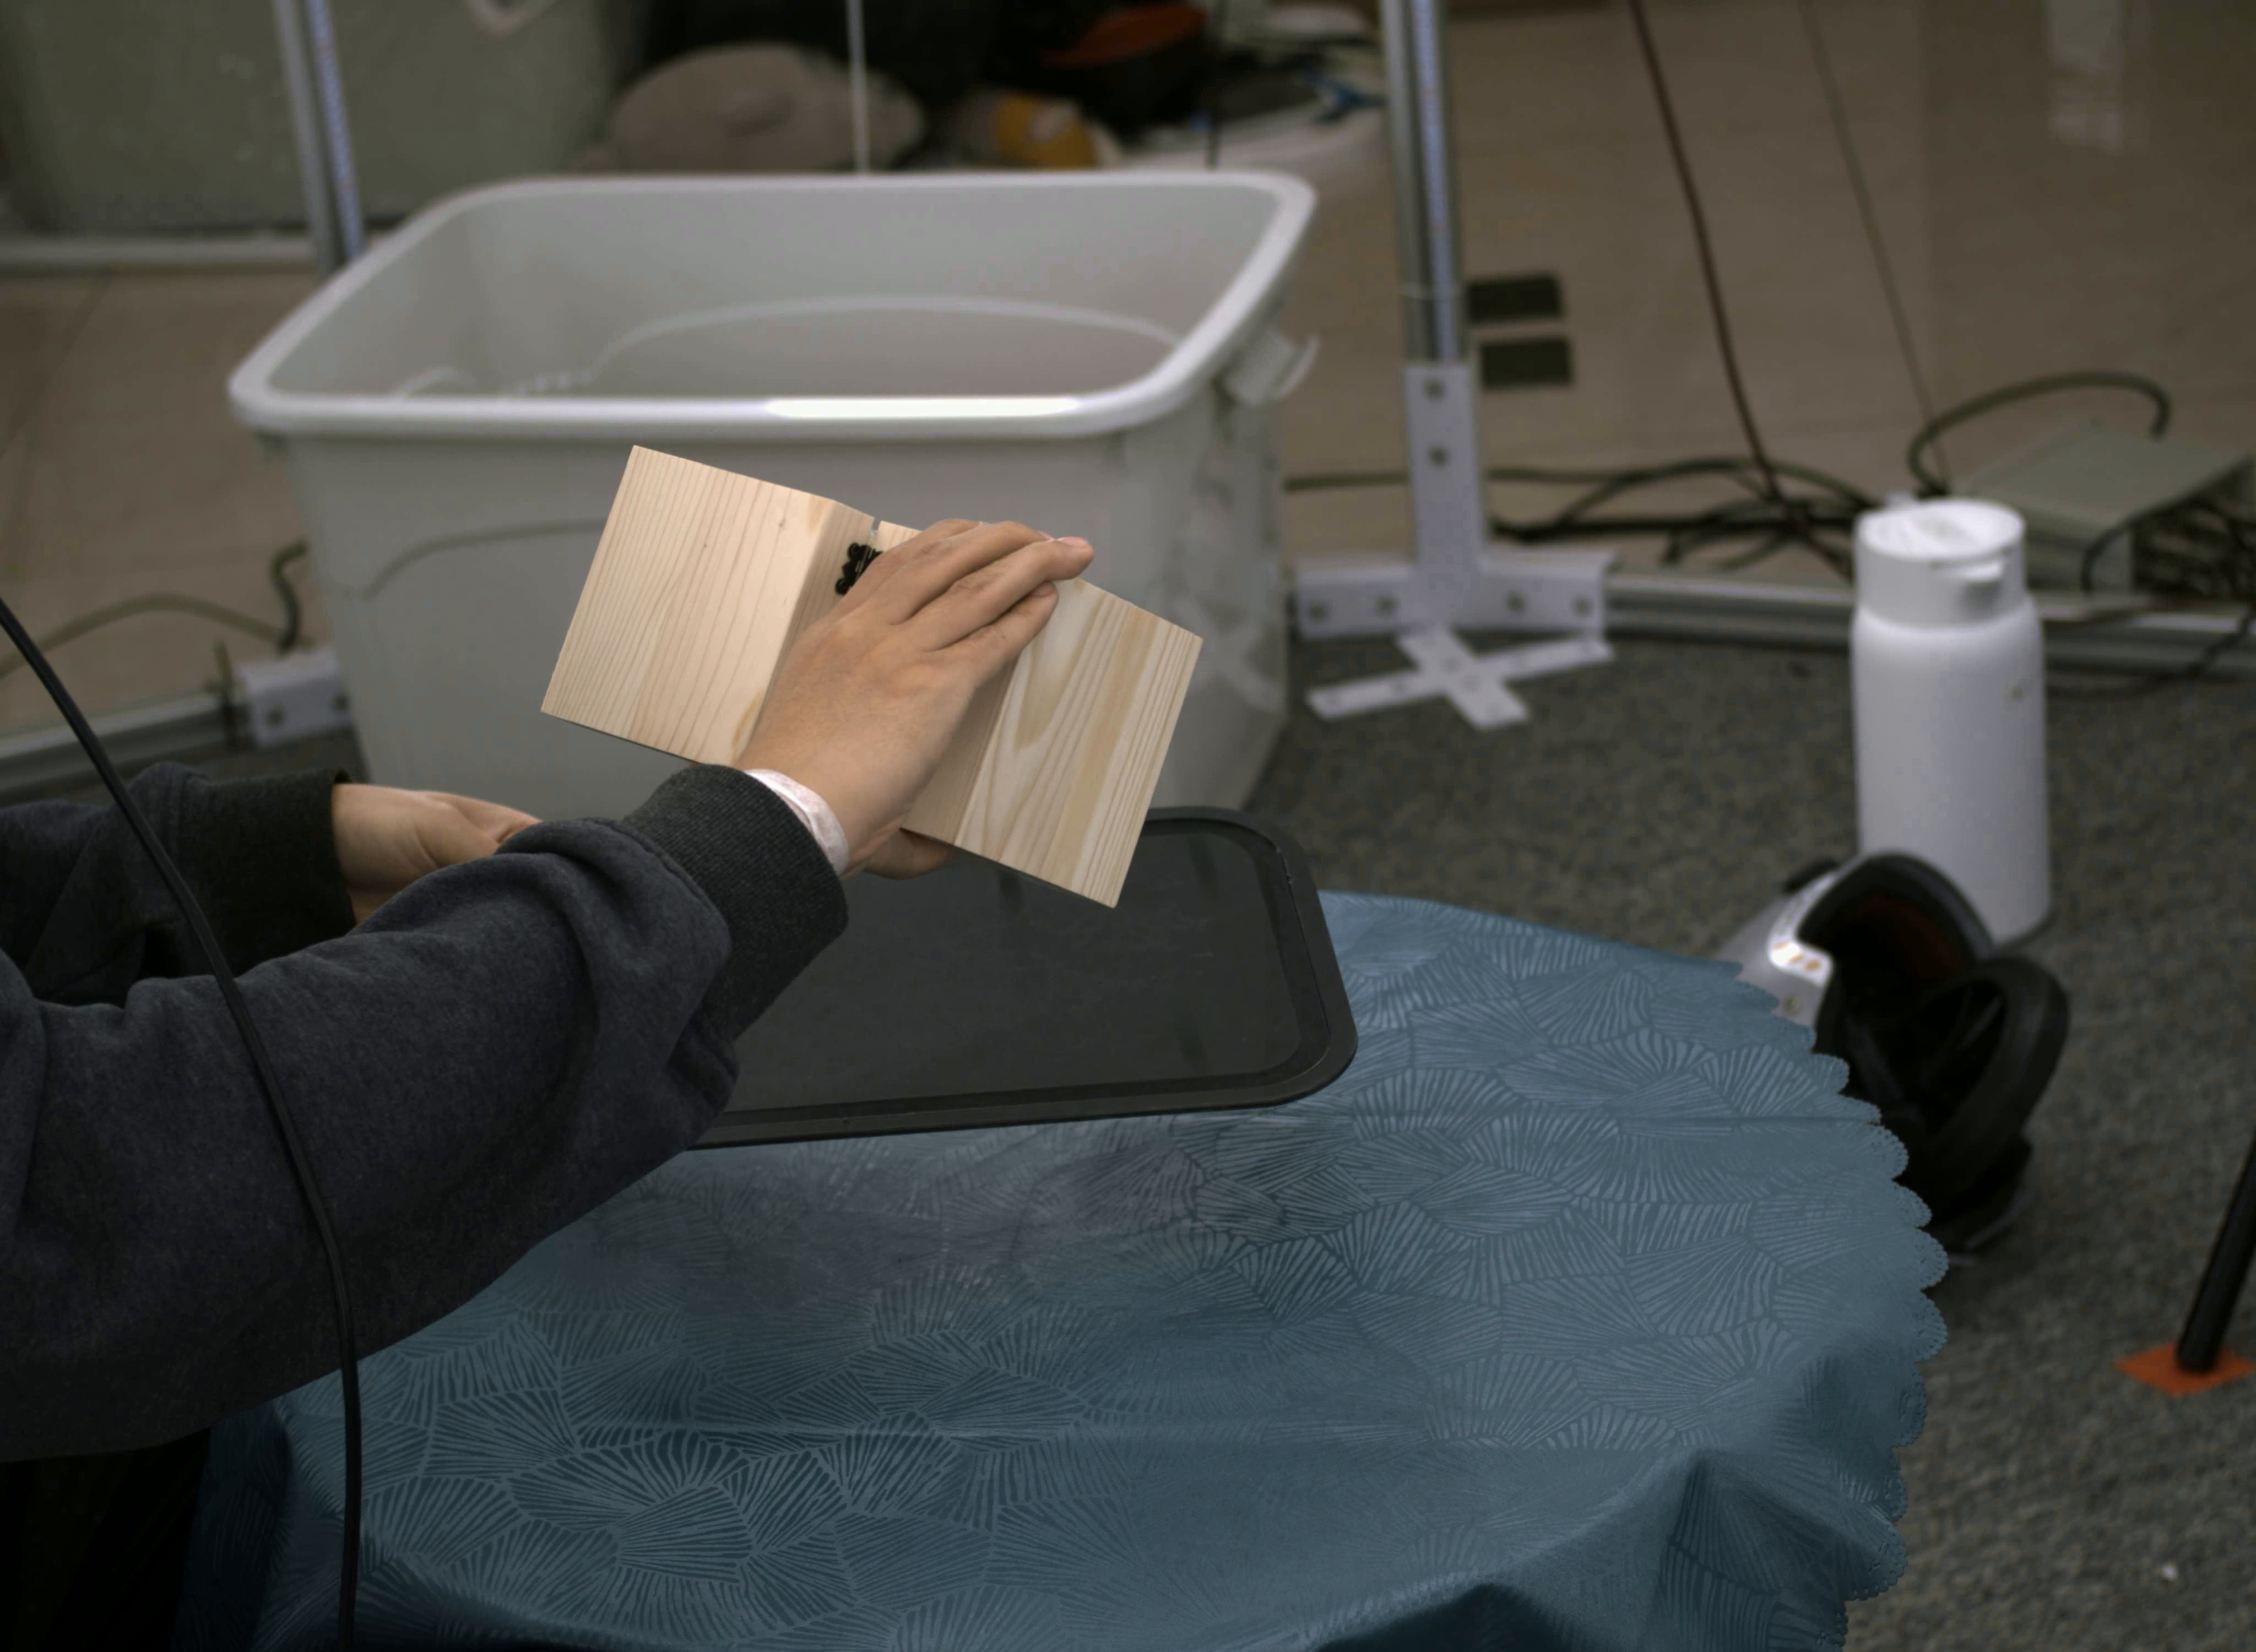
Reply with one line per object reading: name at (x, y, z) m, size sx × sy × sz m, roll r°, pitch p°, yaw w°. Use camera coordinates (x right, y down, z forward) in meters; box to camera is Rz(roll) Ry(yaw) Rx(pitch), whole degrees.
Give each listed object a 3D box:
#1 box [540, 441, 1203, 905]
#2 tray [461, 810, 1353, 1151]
box at (-0.091, -0.054, 1.999) m, size 0.183 × 0.103 × 0.135 m, roll 19°, pitch -1°, yaw 34°
tray at (-0.085, 0.054, 2.104) m, size 0.325 × 0.010 × 0.207 m, roll -4°, pitch 32°, yaw -5°
